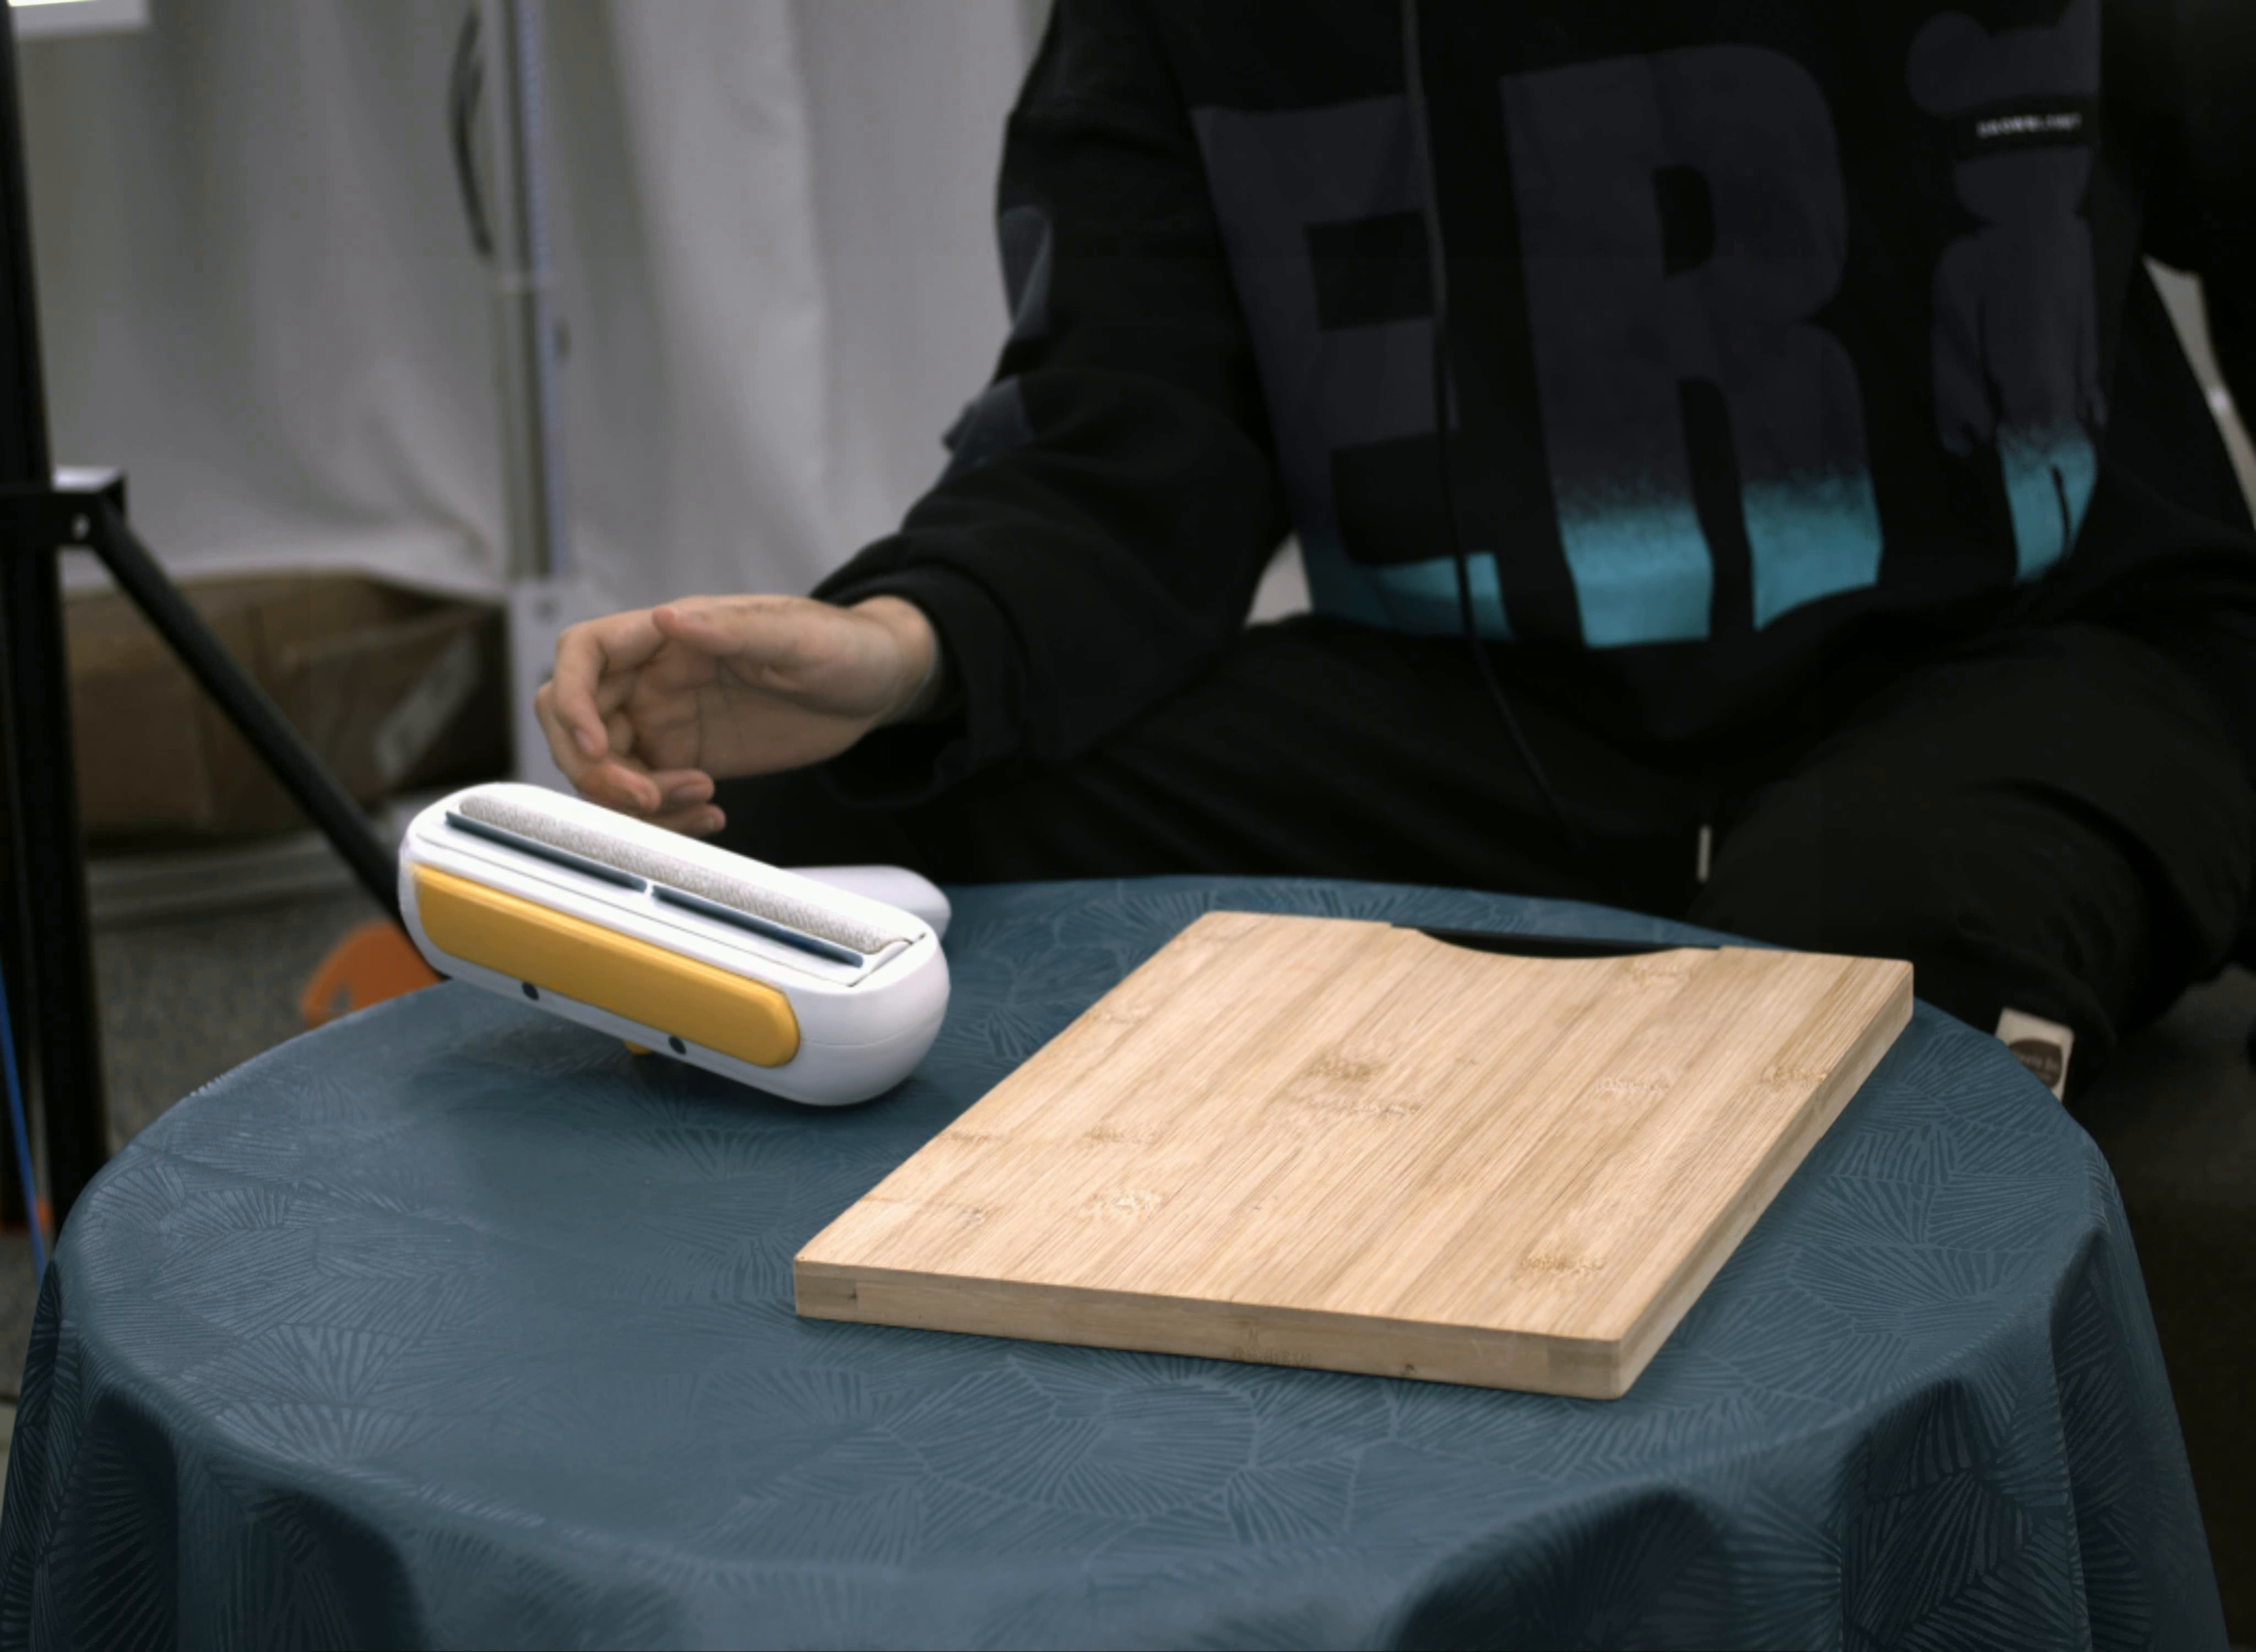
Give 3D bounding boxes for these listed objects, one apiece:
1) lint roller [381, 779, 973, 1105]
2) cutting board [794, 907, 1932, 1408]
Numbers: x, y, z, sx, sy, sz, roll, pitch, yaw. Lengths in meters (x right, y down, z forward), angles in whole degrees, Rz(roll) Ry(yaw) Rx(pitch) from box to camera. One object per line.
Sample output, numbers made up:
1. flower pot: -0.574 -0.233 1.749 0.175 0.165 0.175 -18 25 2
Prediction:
1. lint roller: -0.118 0.029 1.734 0.197 0.074 0.188 15 21 34
2. cutting board: 0.080 0.090 1.579 0.254 0.023 0.344 4 17 21
